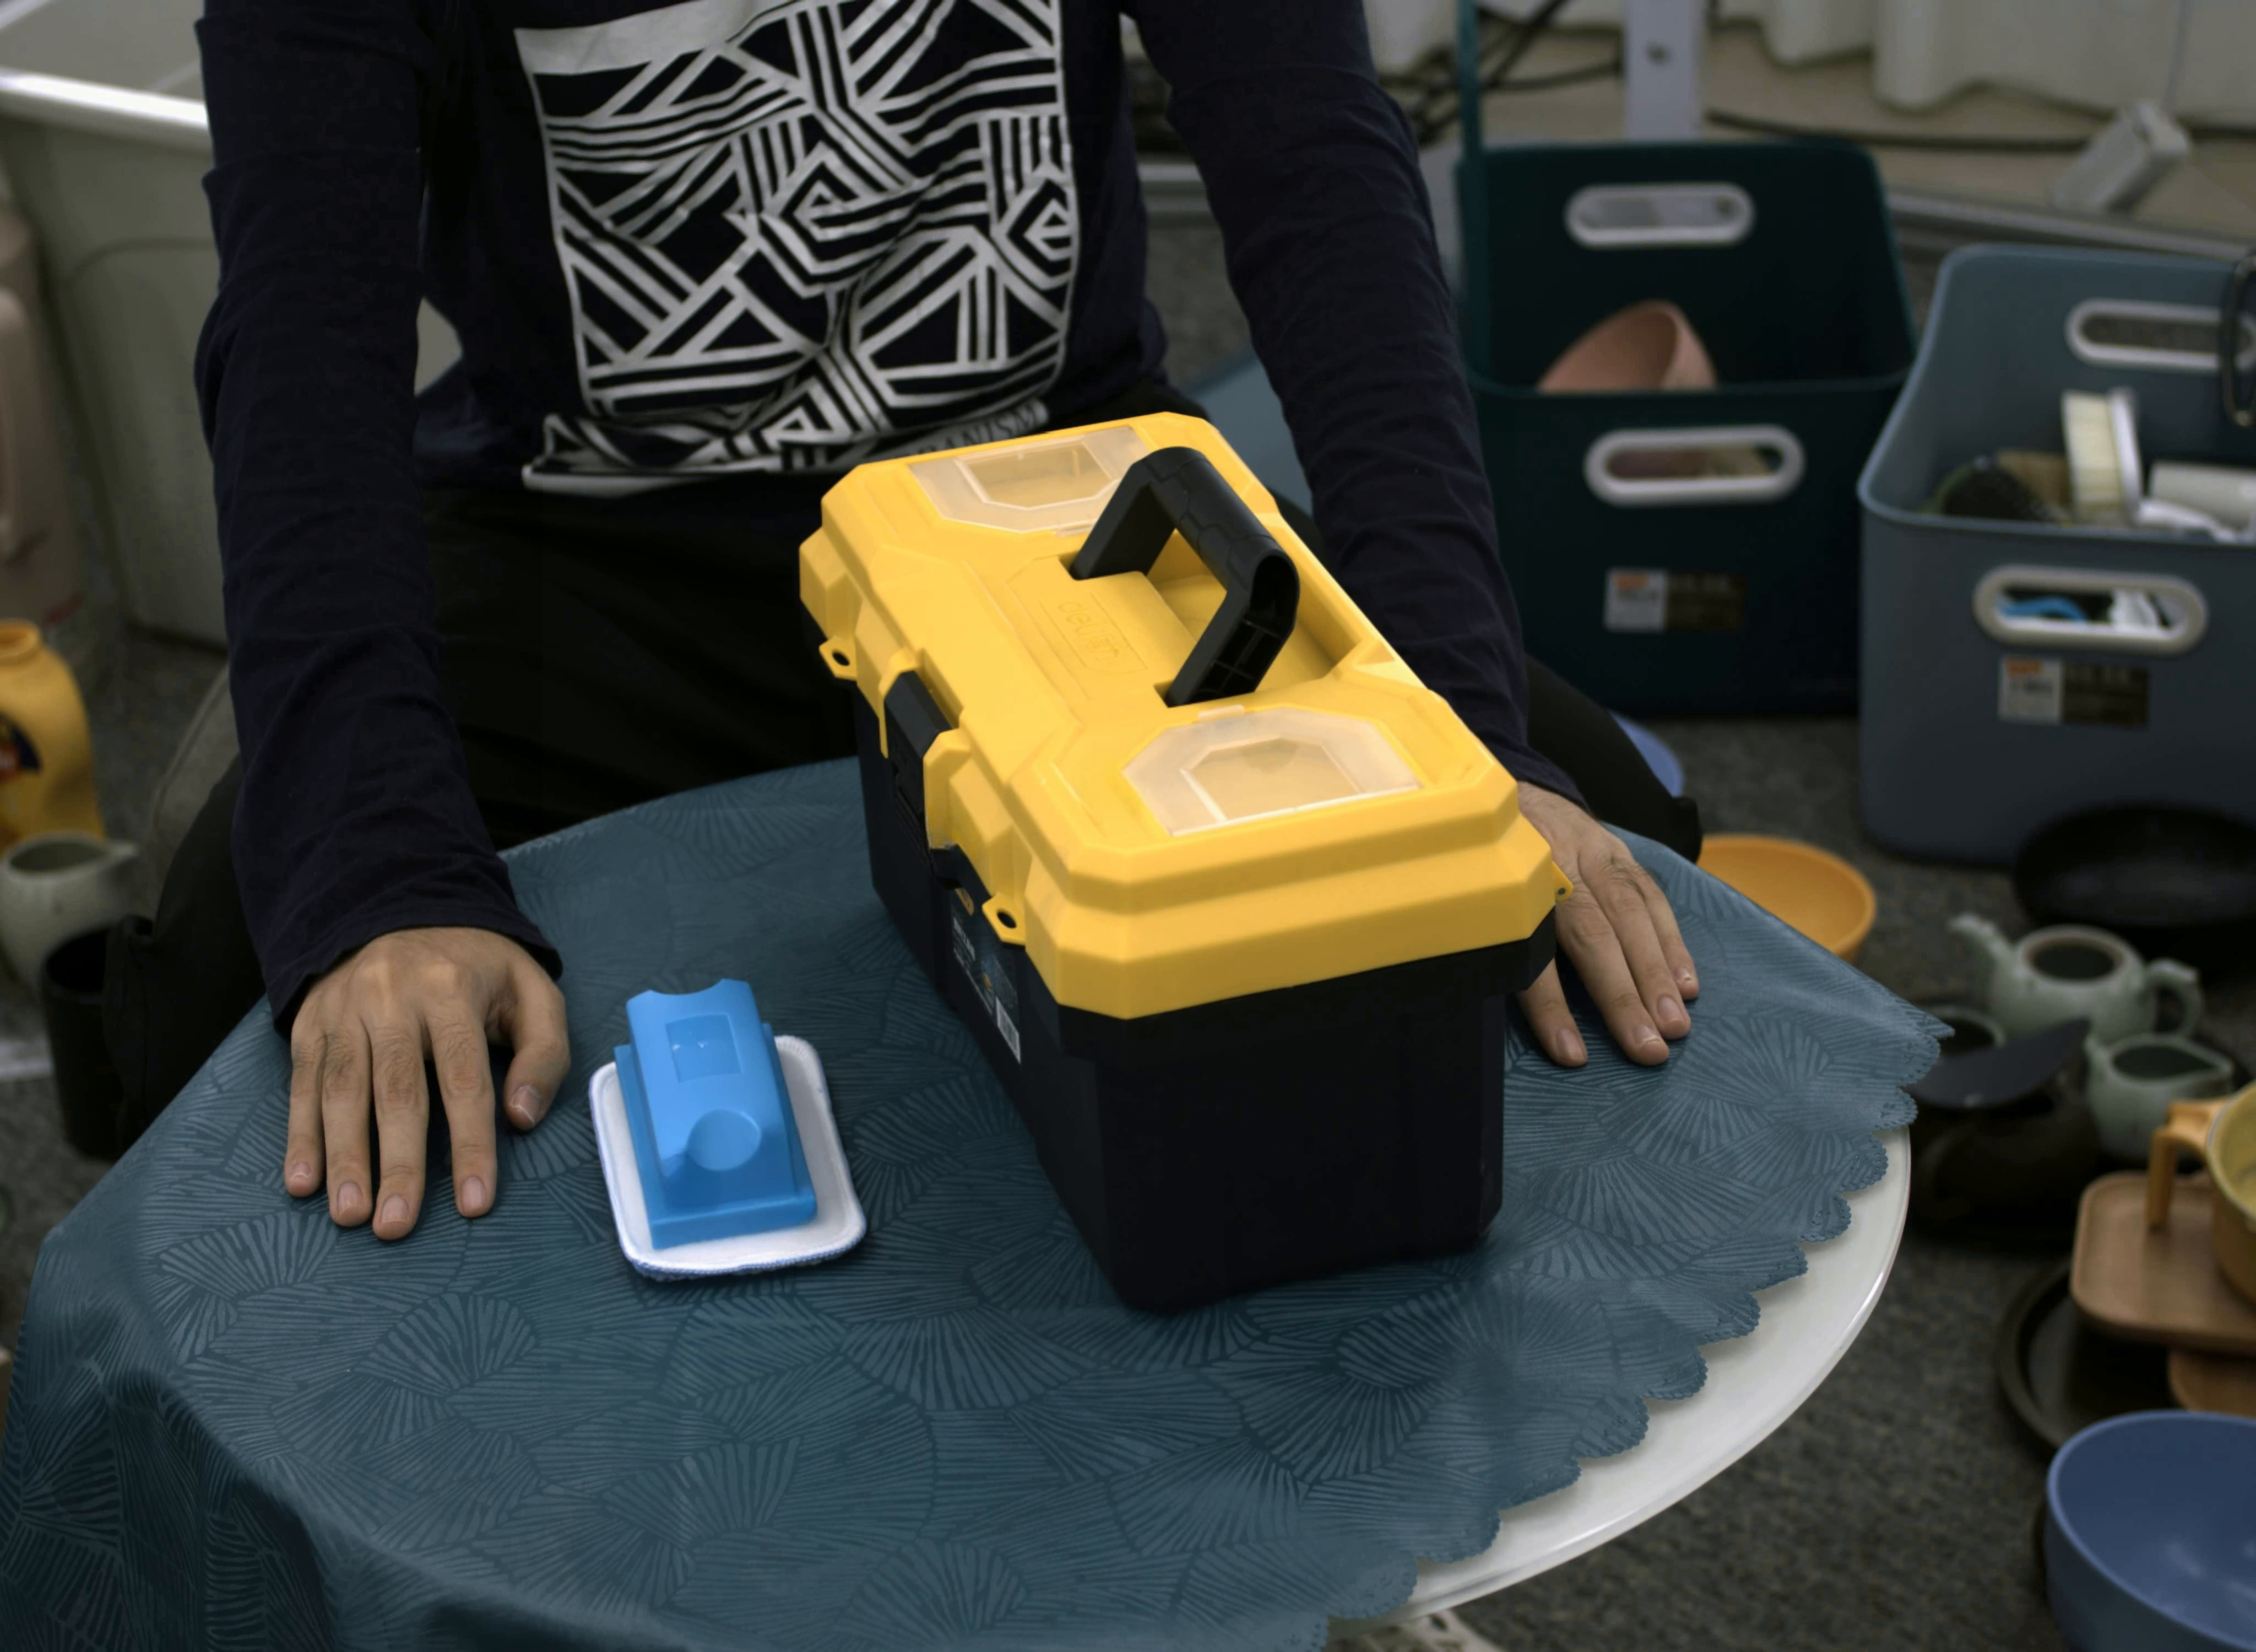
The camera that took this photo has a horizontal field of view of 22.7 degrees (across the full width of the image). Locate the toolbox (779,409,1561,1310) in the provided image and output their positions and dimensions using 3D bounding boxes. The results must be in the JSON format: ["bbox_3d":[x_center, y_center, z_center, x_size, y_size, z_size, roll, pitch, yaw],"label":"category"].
[{"bbox_3d":[0.009,0.005,1.897,0.181,0.171,0.355,-10,28,-15],"label":"toolbox"}]

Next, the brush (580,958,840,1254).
[{"bbox_3d":[-0.139,0.089,1.871,0.083,0.055,0.146,-3,29,-7],"label":"brush"}]
